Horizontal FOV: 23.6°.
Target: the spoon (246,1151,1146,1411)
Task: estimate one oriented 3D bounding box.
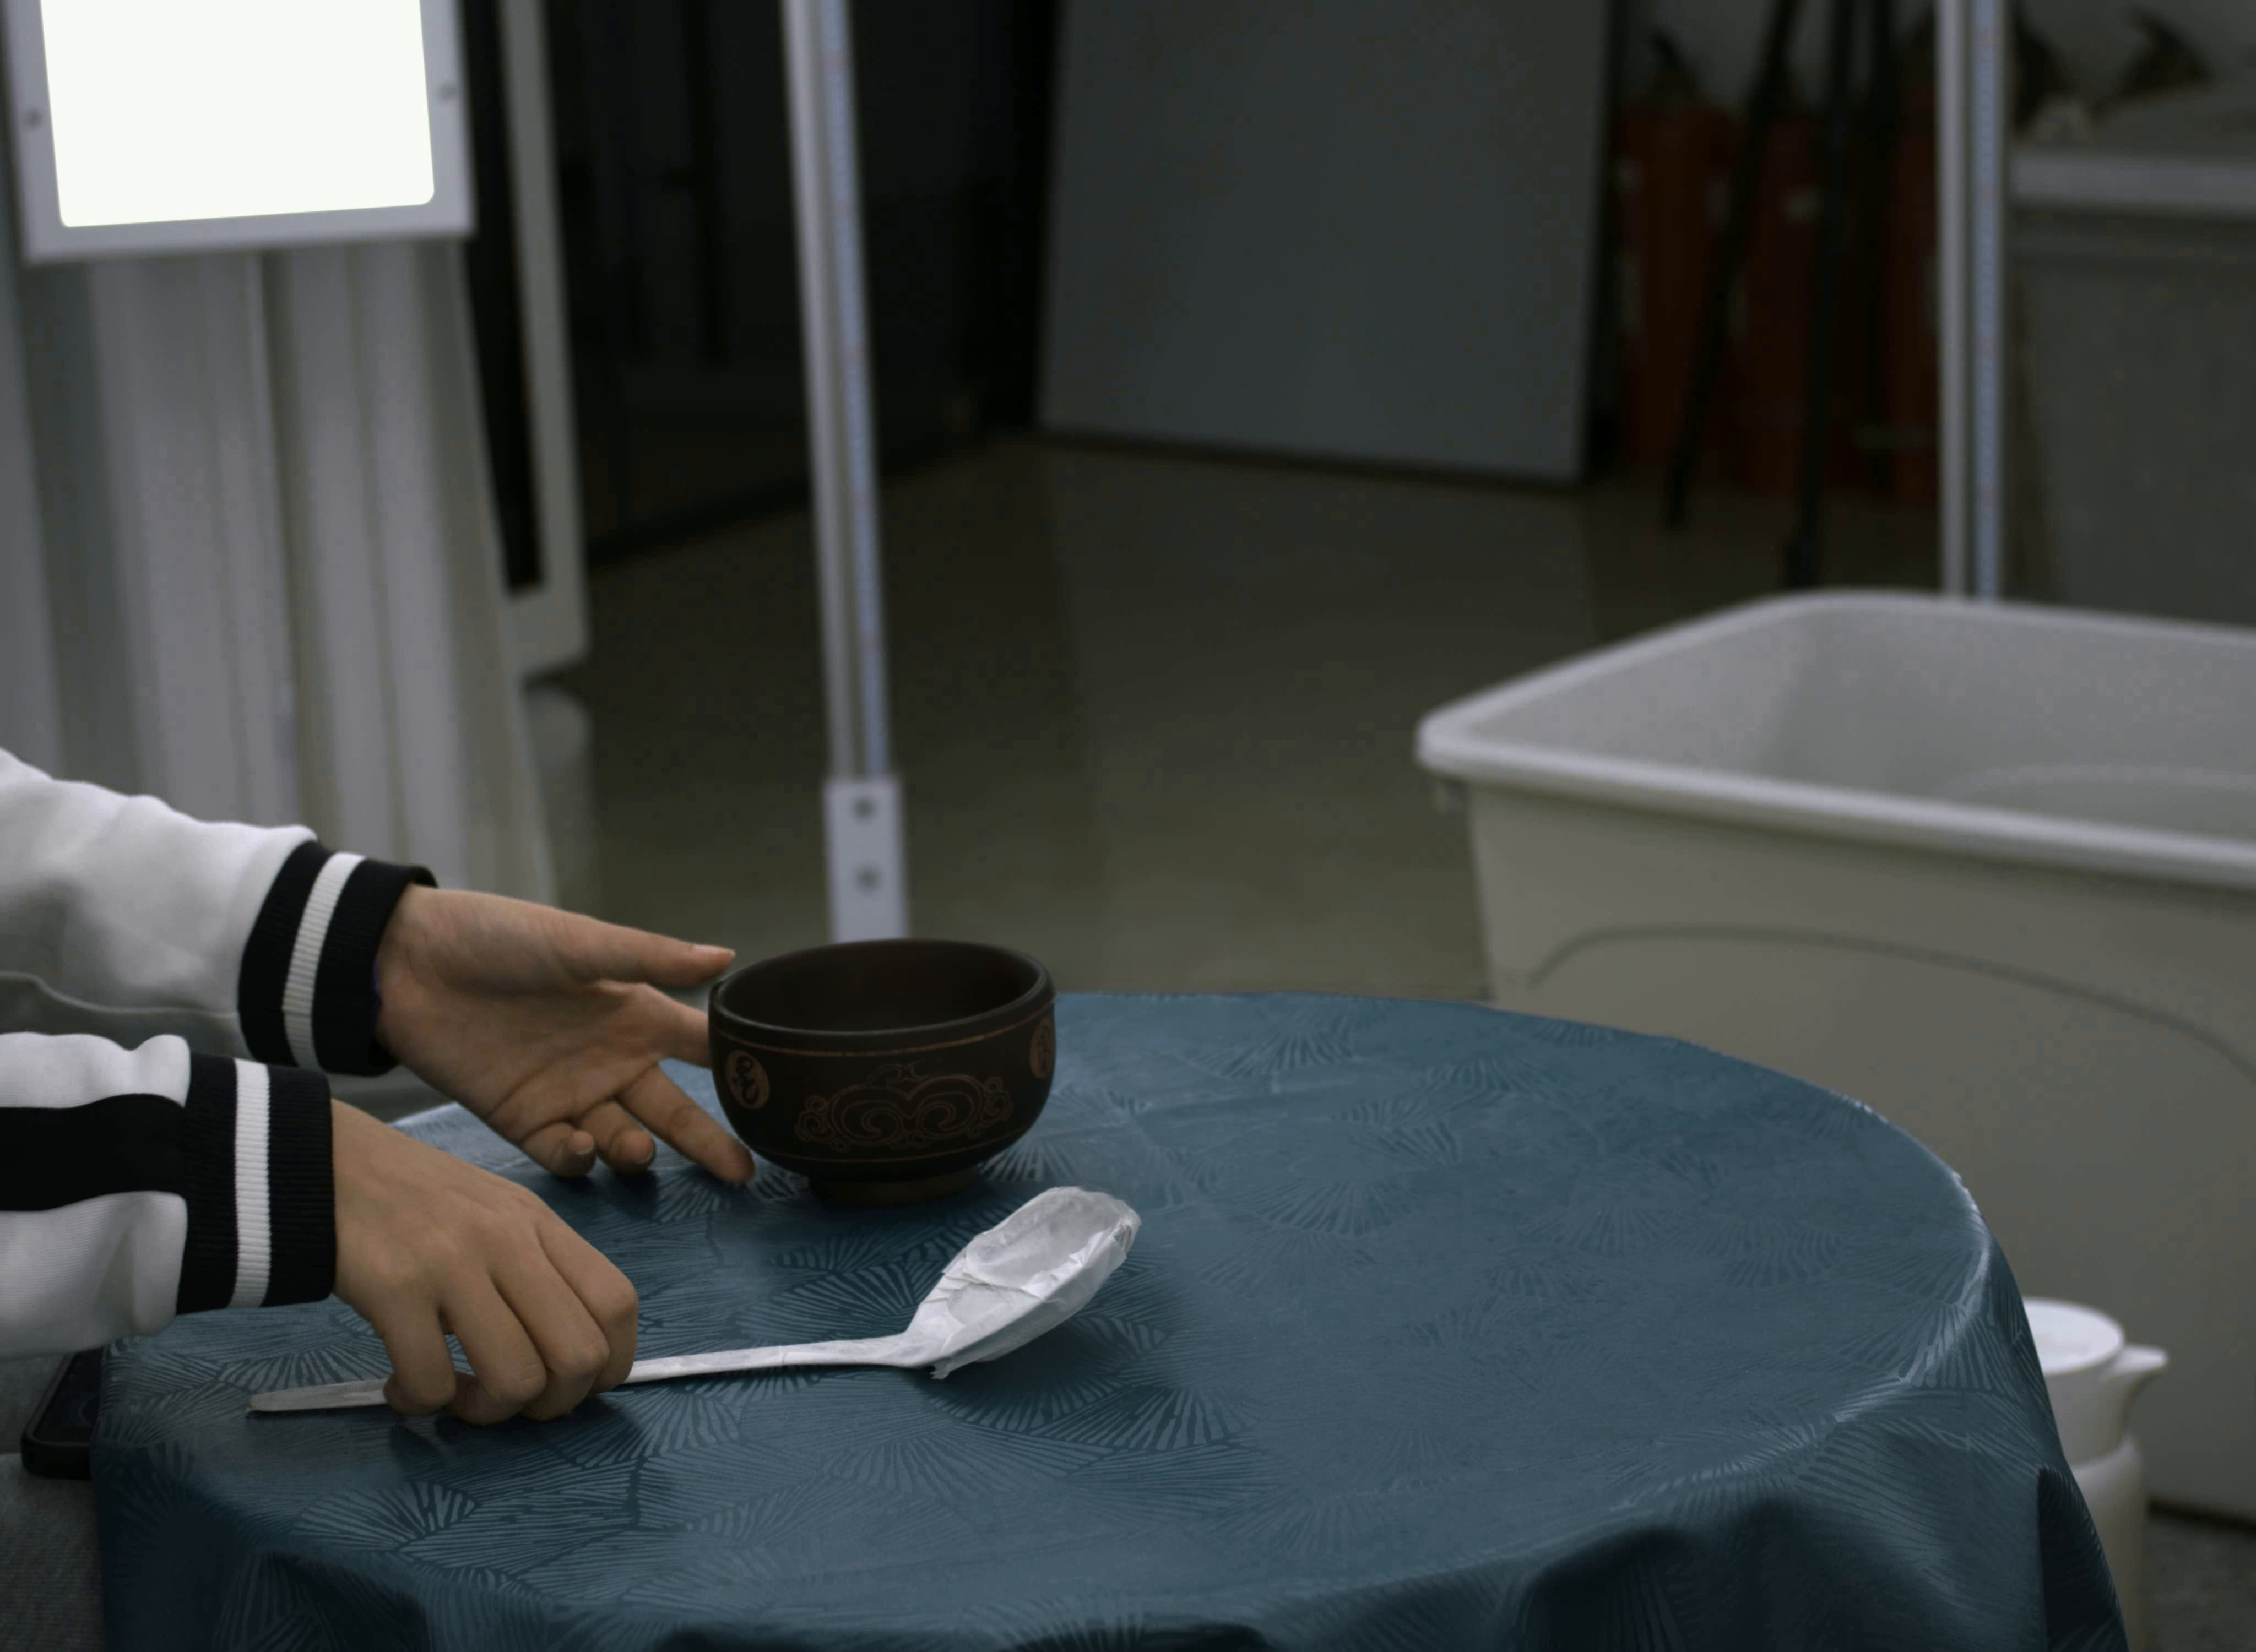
[{"bbox_3d":[-0.130,0.136,1.625,0.274,0.060,0.101,-4,11,1],"label":"spoon"}]

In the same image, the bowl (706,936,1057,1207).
[{"bbox_3d":[-0.080,0.085,1.790,0.116,0.070,0.118,-5,13,0],"label":"bowl"}]
